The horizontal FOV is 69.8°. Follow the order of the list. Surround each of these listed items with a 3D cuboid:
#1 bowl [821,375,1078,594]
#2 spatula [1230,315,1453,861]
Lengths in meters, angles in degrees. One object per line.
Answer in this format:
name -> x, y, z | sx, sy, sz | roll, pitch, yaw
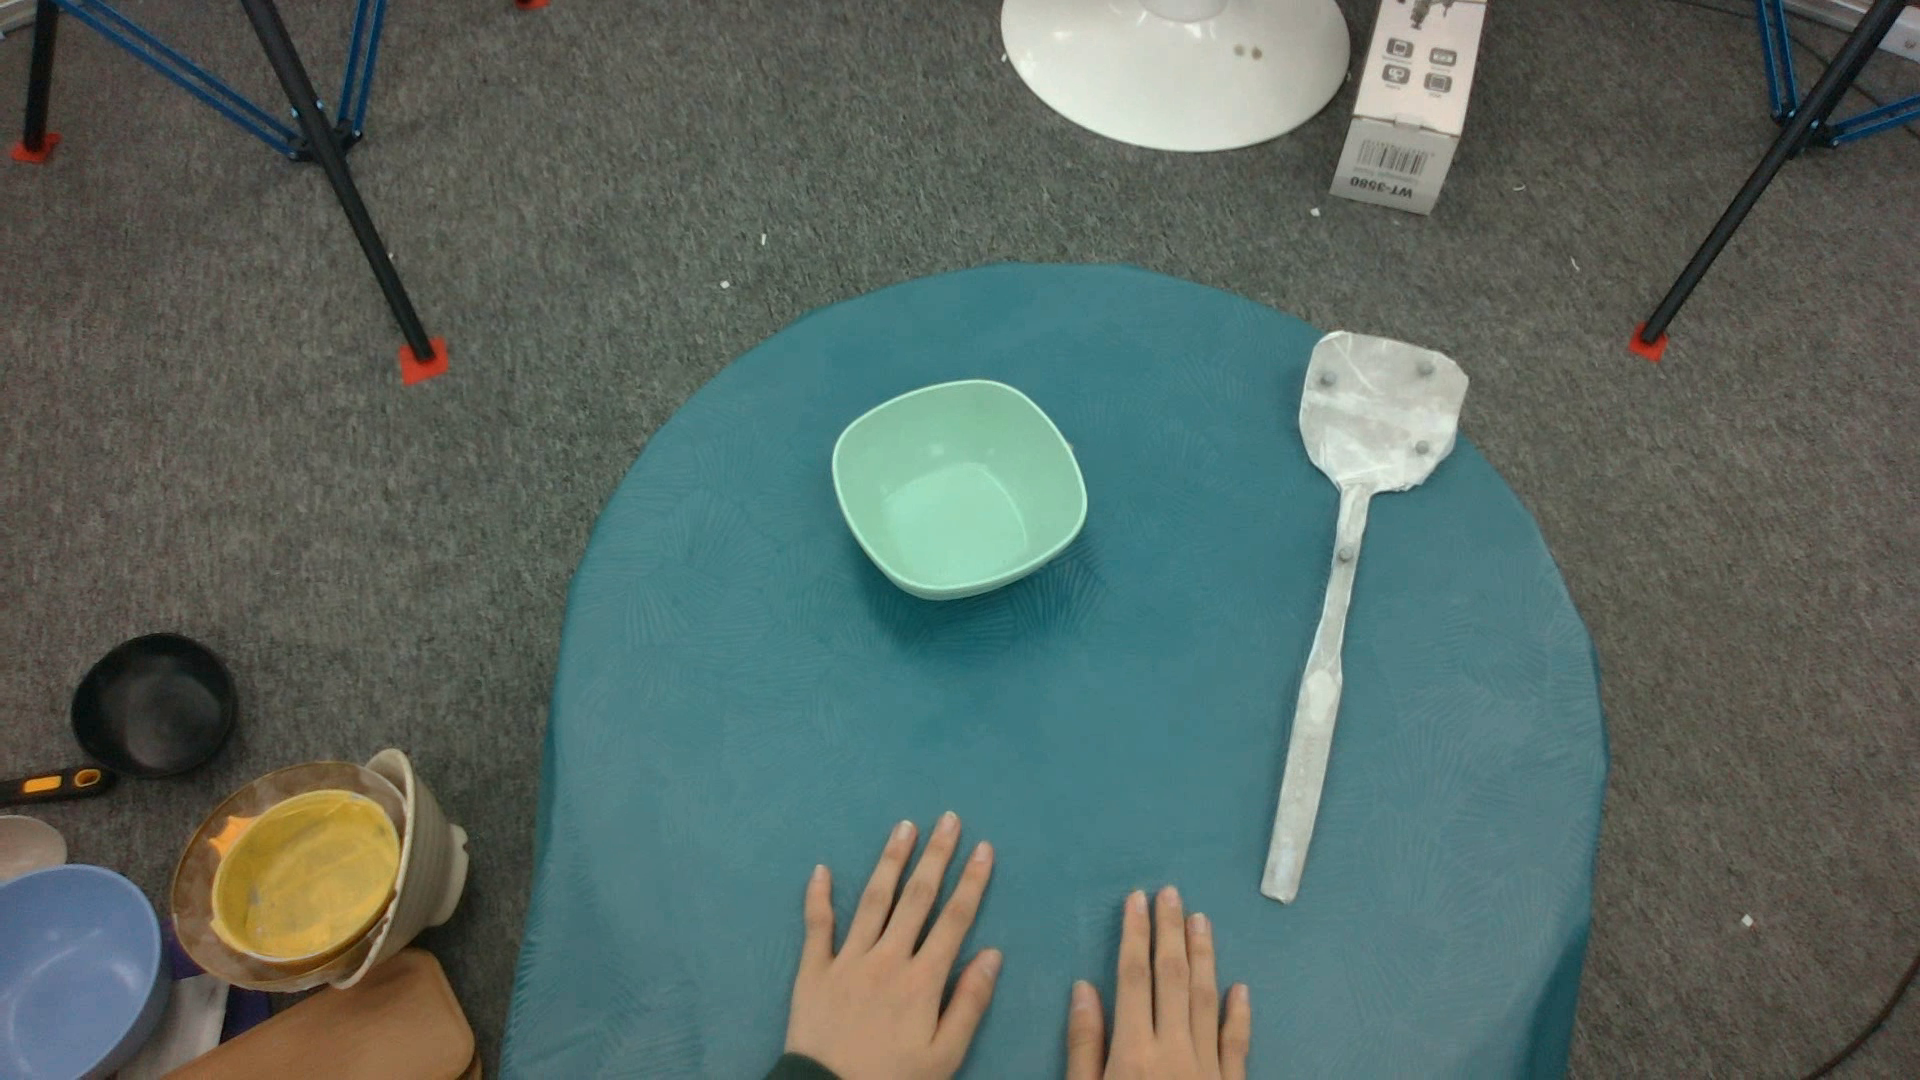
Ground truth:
bowl -> -0.007, -0.023, 0.812 | 0.151, 0.058, 0.152 | 1, 57, -1
spatula -> 0.214, 0.018, 0.806 | 0.098, 0.044, 0.366 | 18, 59, 6
